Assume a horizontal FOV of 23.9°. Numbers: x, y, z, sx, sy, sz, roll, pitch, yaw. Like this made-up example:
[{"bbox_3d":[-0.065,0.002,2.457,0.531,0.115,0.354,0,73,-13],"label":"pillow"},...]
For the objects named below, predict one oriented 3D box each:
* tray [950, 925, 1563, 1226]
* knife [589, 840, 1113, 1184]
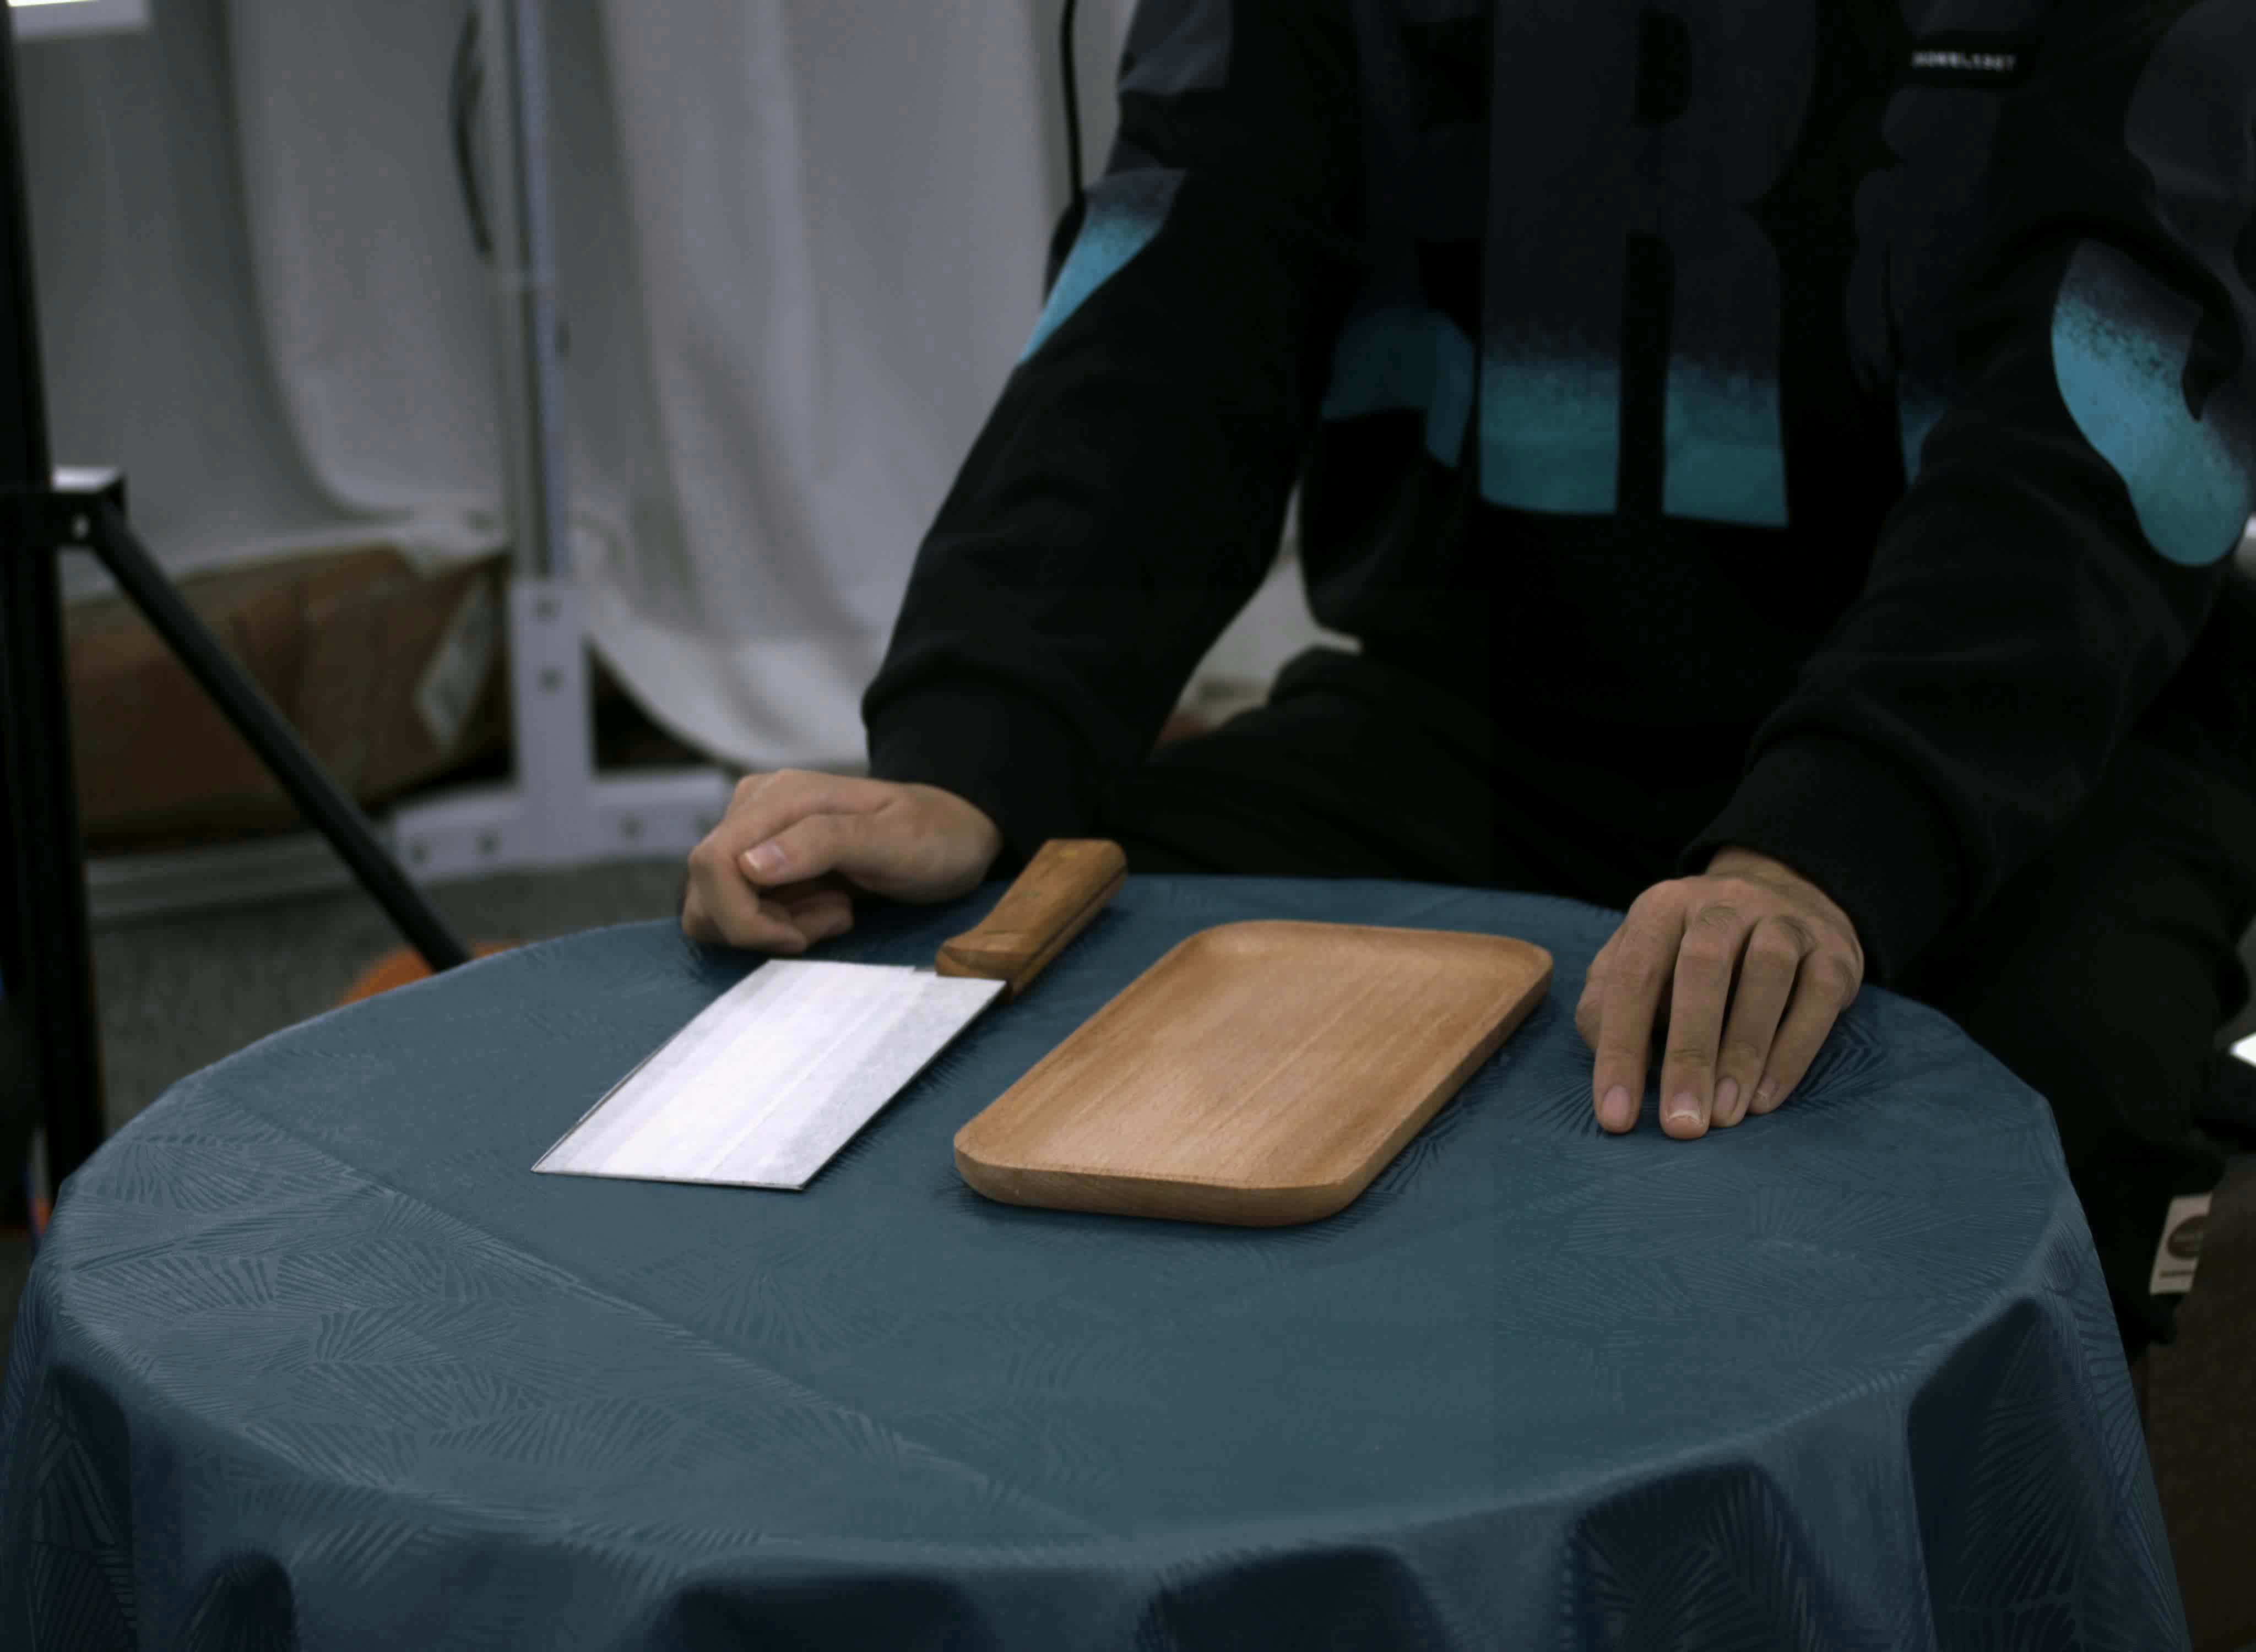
[{"bbox_3d":[0.044,0.075,1.640,0.132,0.023,0.247,6,17,22],"label":"tray"},{"bbox_3d":[-0.088,0.059,1.720,0.094,0.021,0.302,1,18,20],"label":"knife"}]
